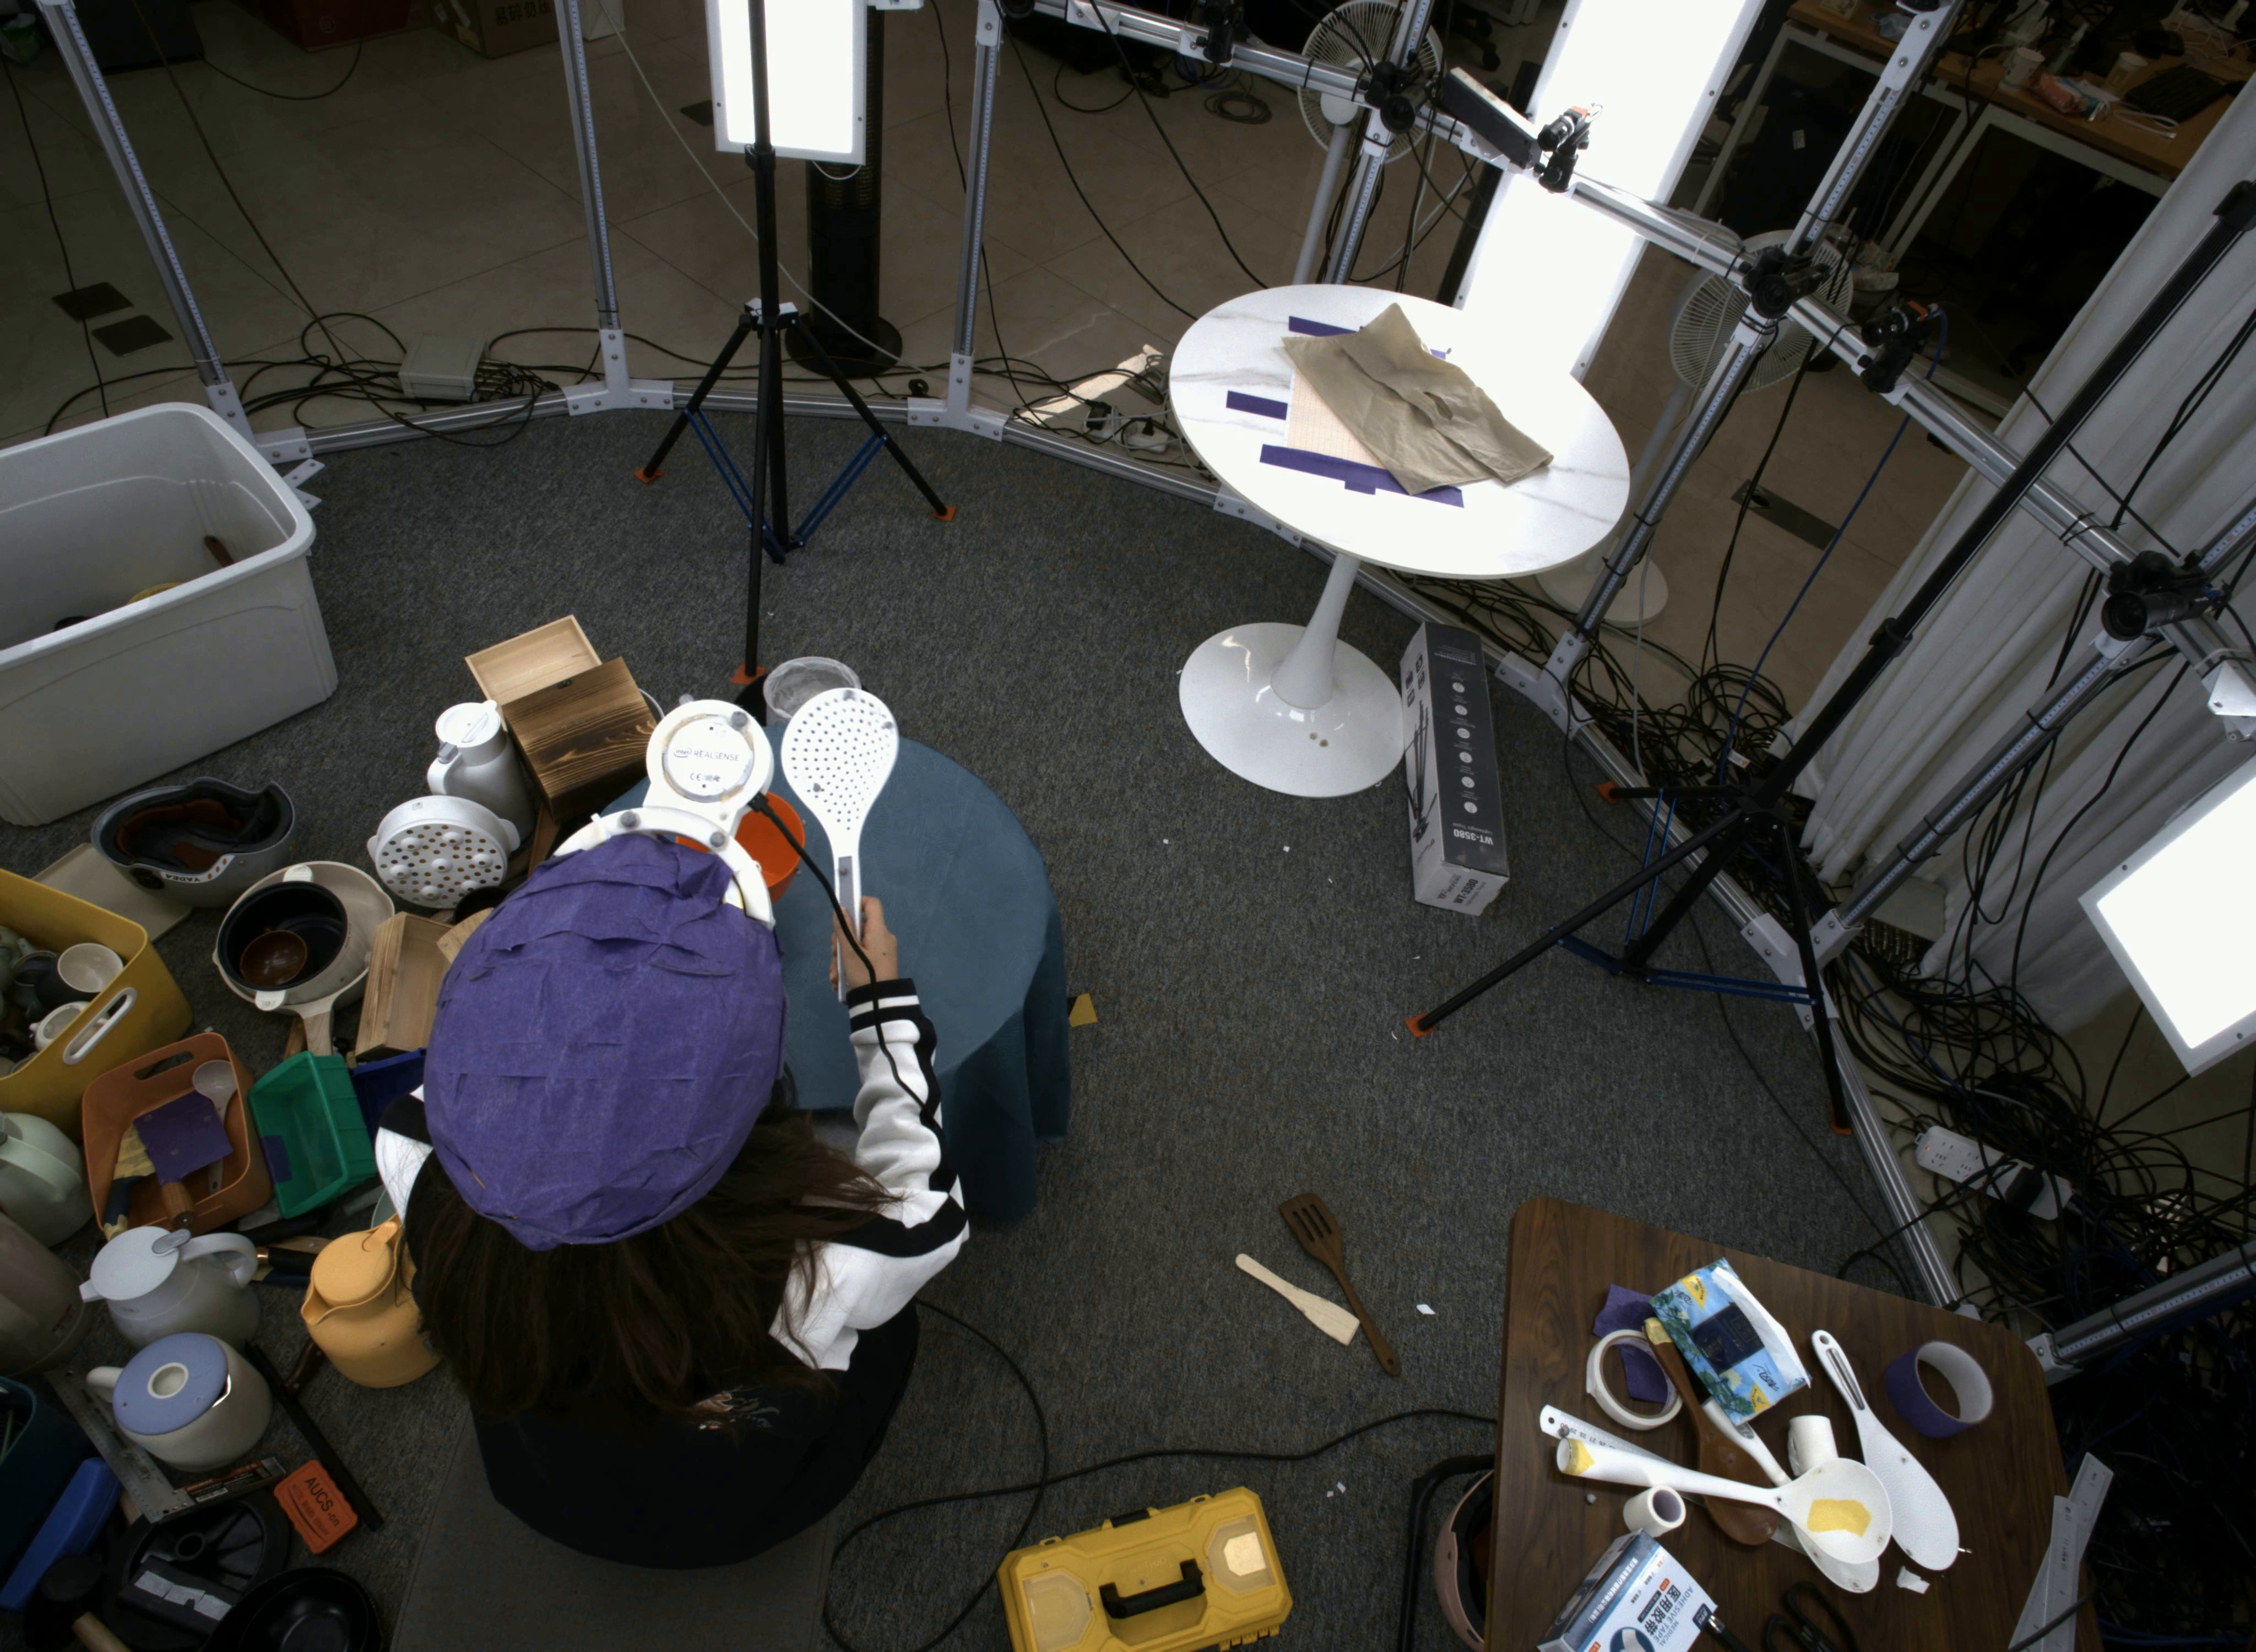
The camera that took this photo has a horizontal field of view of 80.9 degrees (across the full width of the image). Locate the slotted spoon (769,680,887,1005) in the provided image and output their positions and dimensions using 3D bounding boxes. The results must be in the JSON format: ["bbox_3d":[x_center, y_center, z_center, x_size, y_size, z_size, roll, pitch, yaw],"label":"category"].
[{"bbox_3d":[-0.314,0.014,1.389,0.134,0.047,0.347,-7,72,5],"label":"slotted spoon"}]

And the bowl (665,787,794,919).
[{"bbox_3d":[-0.473,0.042,1.546,0.147,0.107,0.145,7,48,-7],"label":"bowl"}]
